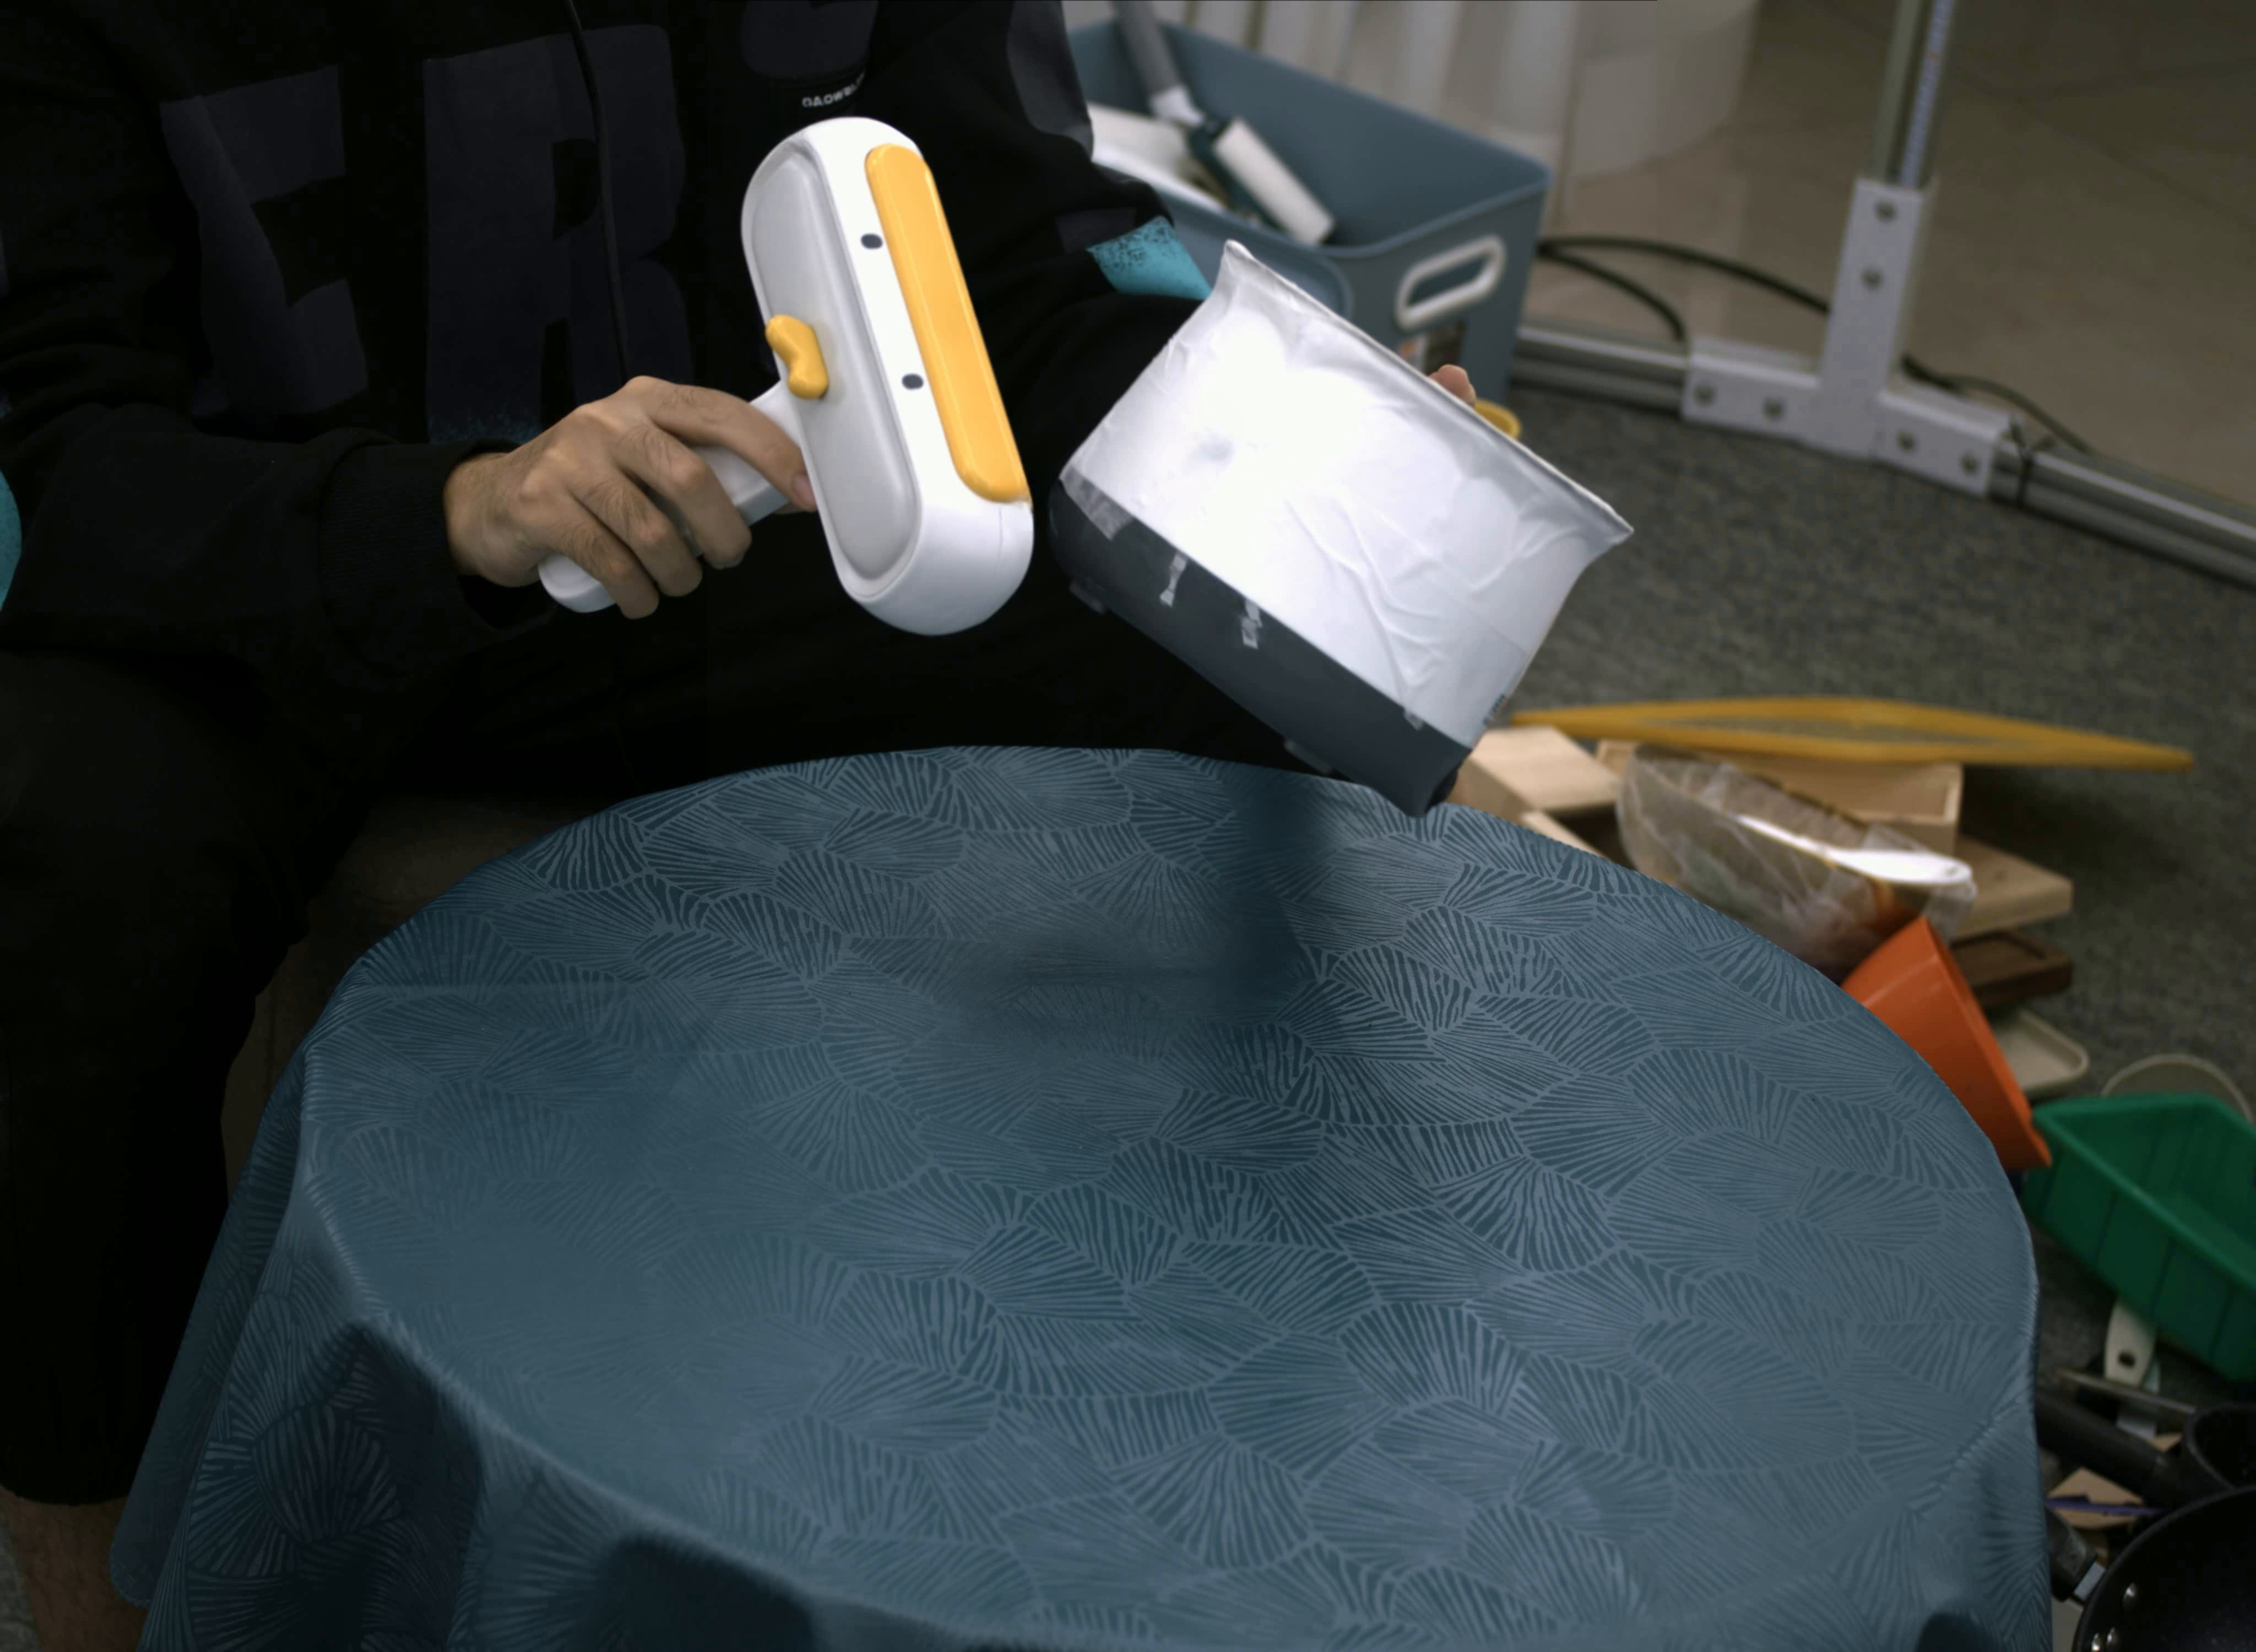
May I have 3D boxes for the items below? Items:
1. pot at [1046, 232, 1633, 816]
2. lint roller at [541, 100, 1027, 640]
[{"bbox_3d":[0.075,-0.106,1.913,0.179,0.136,0.233,38,6,9],"label":"pot"},{"bbox_3d":[-0.129,-0.130,1.852,0.073,0.192,0.194,5,53,-46],"label":"lint roller"}]
